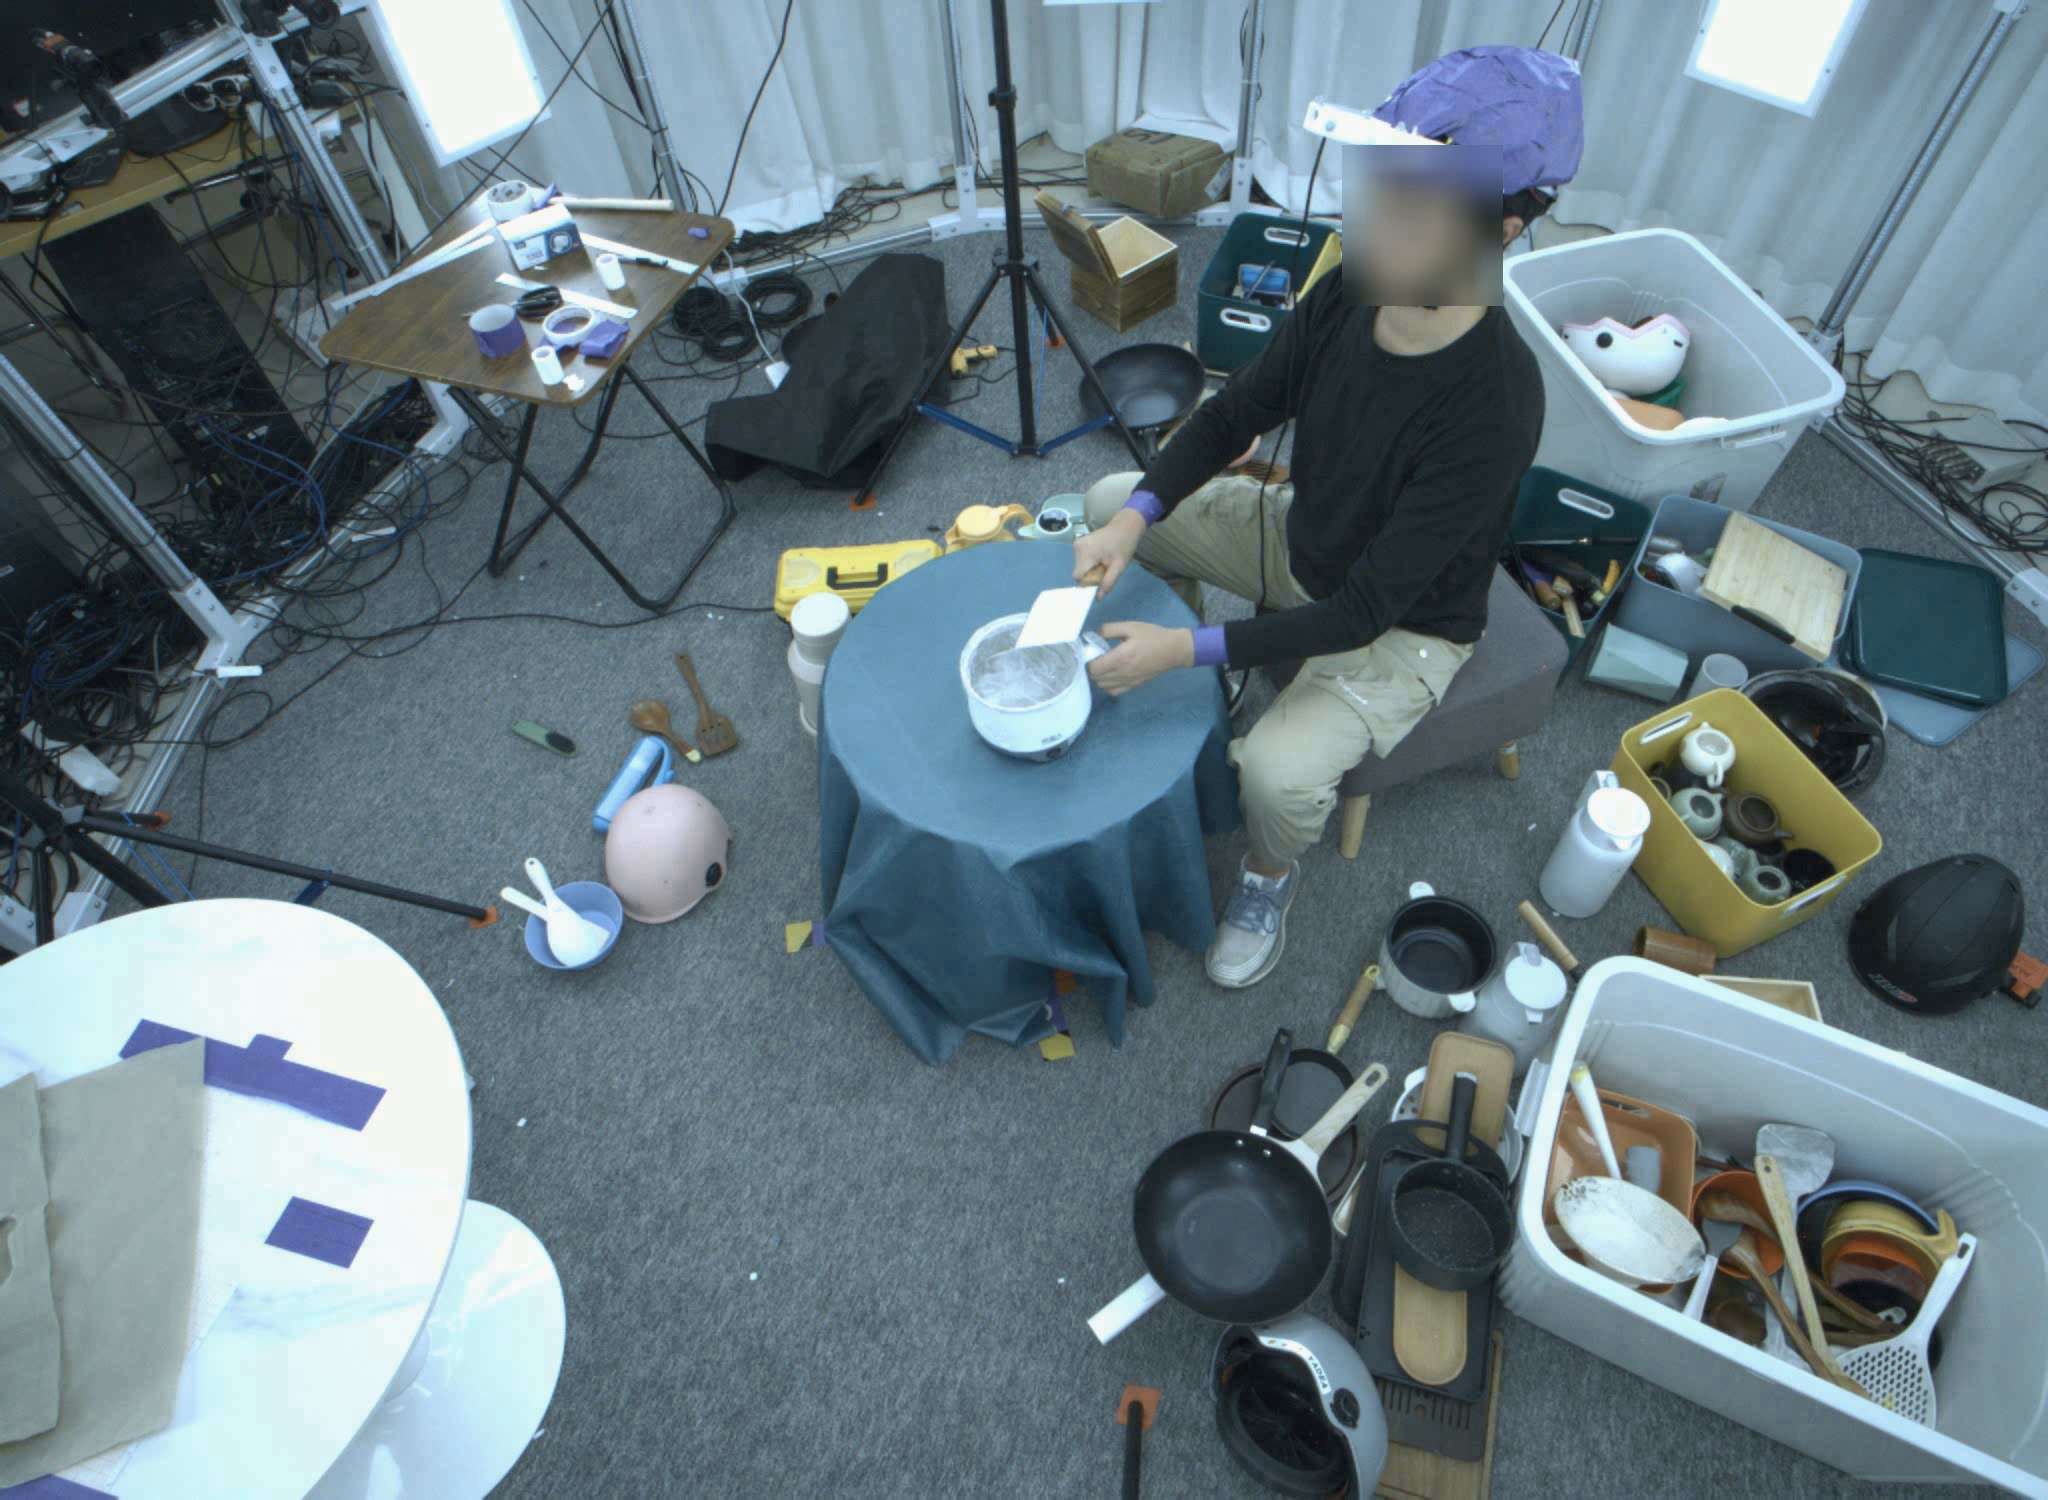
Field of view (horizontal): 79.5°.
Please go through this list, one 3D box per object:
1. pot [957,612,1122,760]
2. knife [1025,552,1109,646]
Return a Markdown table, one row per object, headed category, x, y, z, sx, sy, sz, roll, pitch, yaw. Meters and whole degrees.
| category | x | y | z | sx | sy | sz | roll | pitch | yaw |
| --- | --- | --- | --- | --- | --- | --- | --- | --- | --- |
| pot | 0.028 | -0.100 | 1.762 | 0.235 | 0.138 | 0.175 | -23 | 57 | -9 |
| knife | 0.061 | -0.219 | 1.772 | 0.092 | 0.021 | 0.305 | -3 | 30 | 16 |
